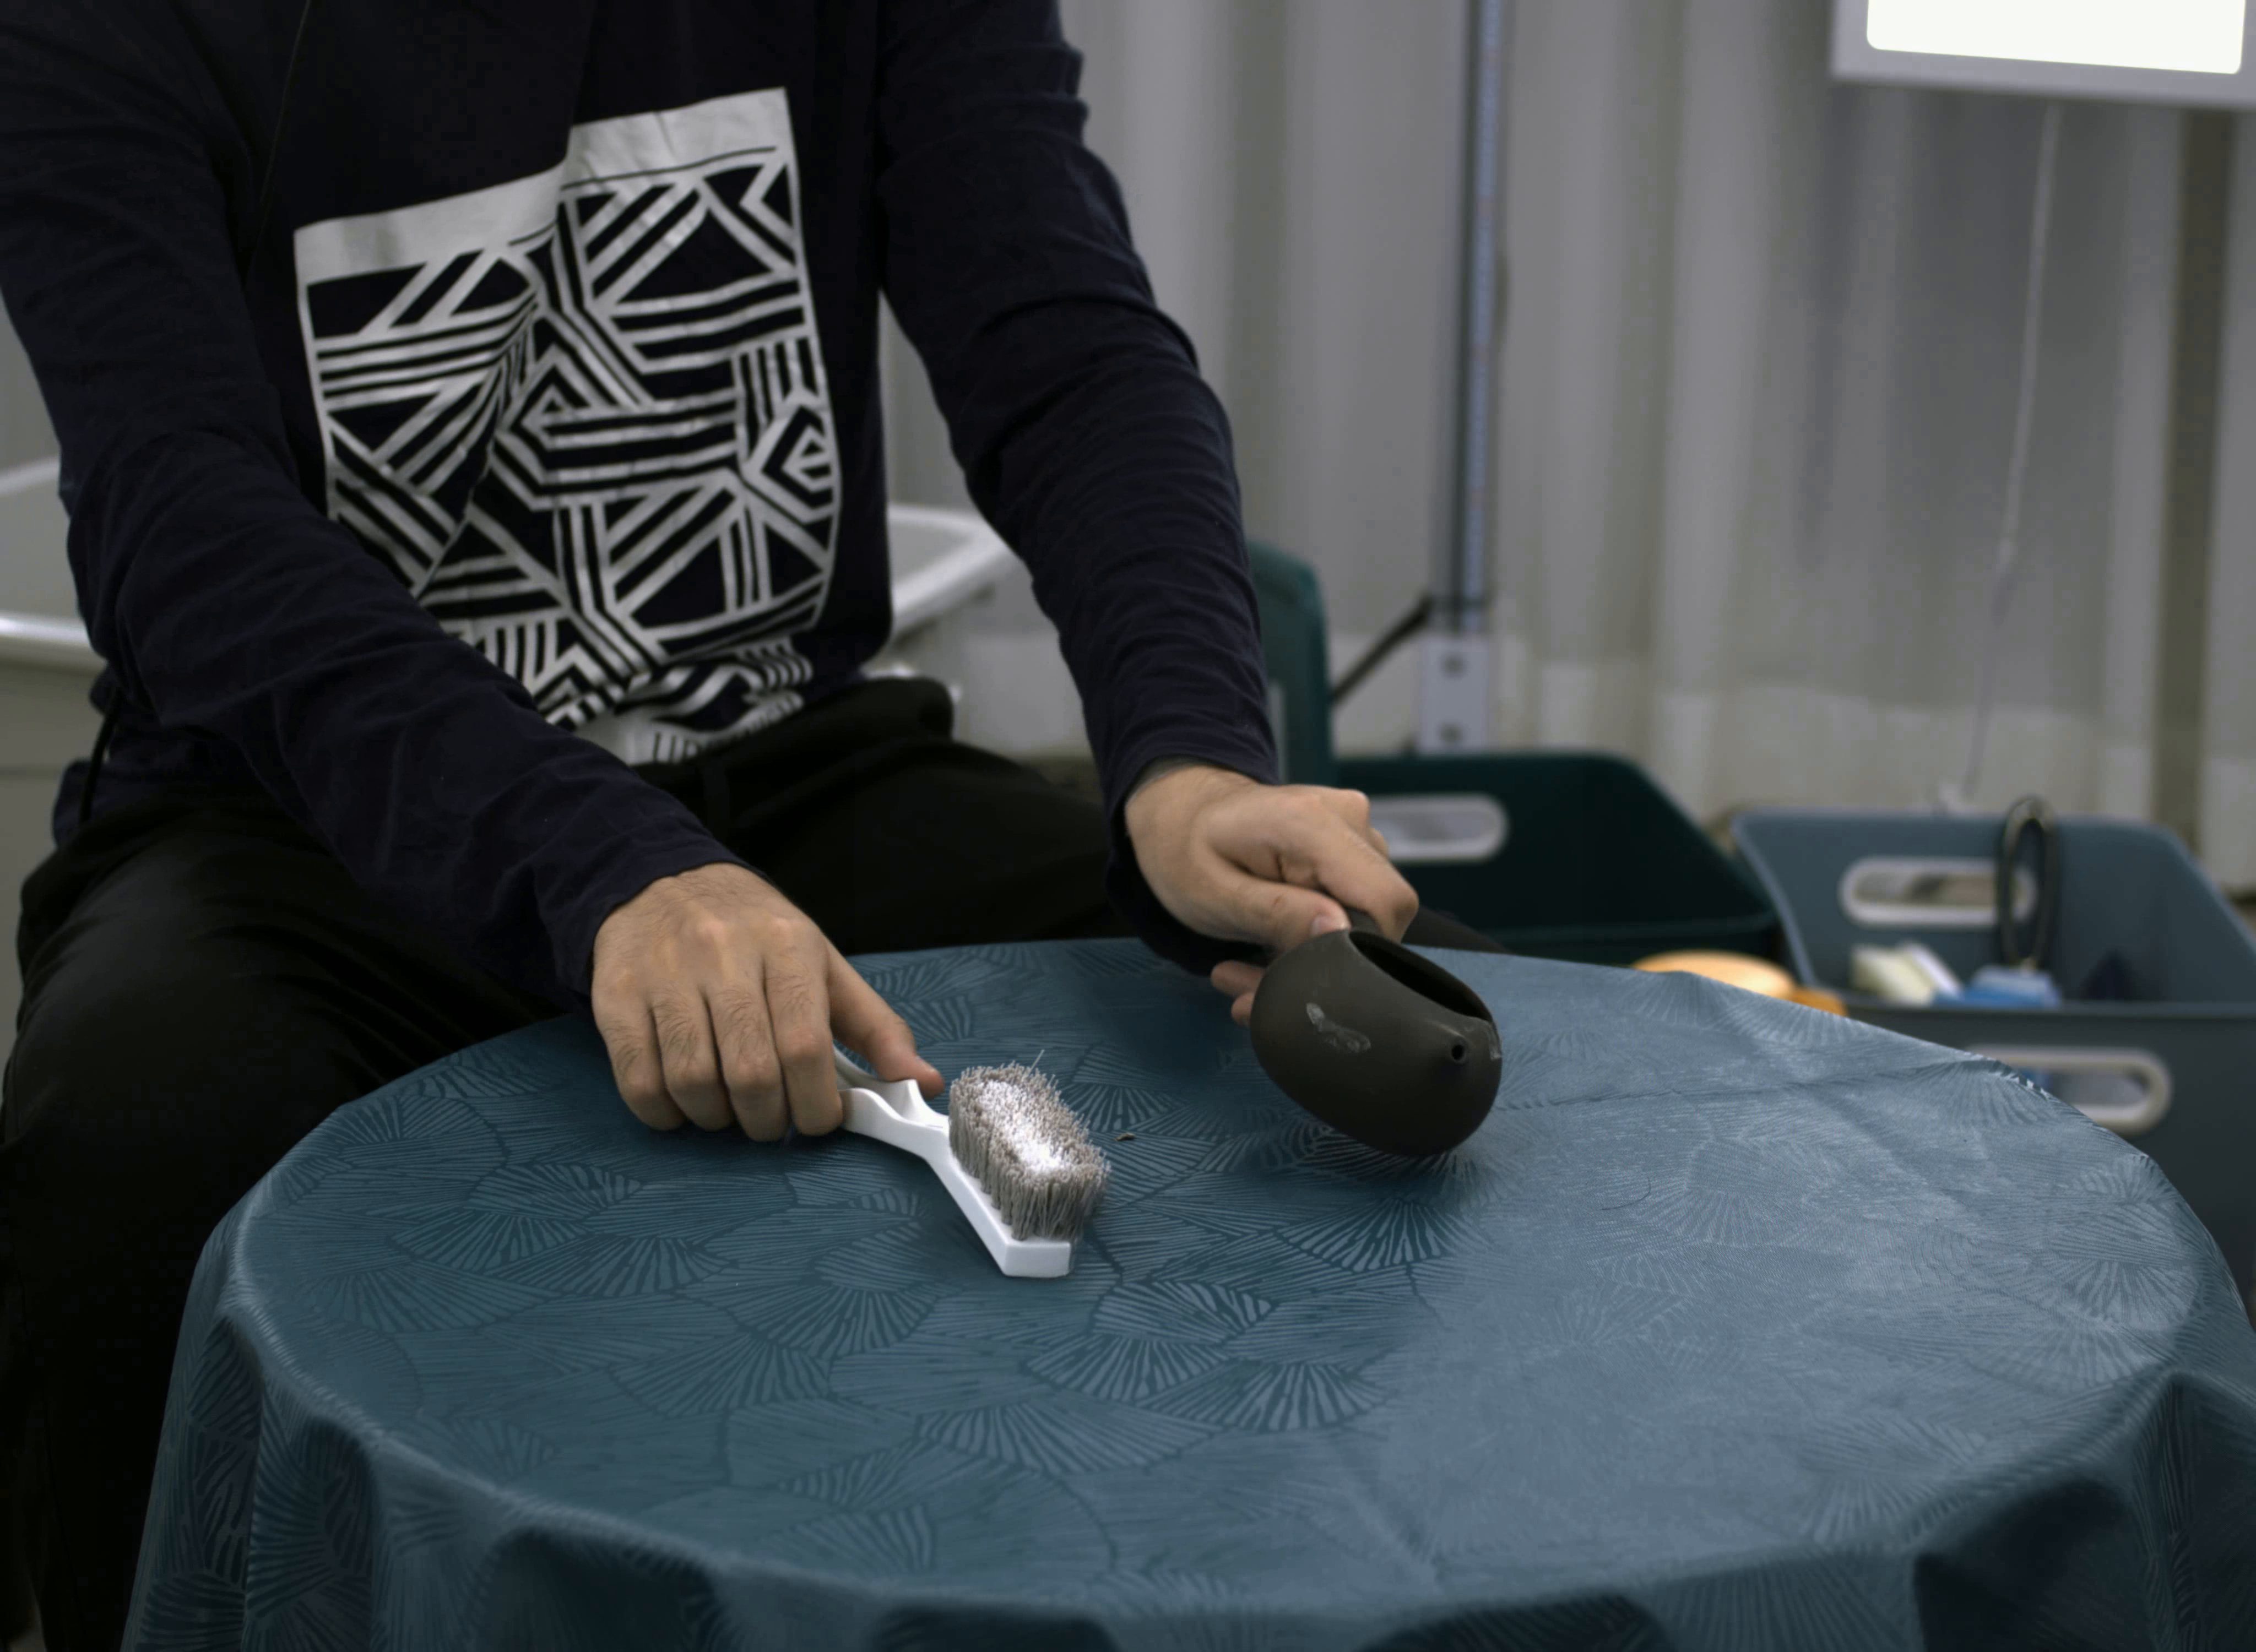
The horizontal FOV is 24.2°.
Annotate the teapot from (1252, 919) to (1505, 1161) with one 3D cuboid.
[{"bbox_3d":[0.076,0.064,1.660,0.083,0.053,0.113,22,15,-27],"label":"teapot"}]

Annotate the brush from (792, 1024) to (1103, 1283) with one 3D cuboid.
[{"bbox_3d":[-0.062,0.082,1.642,0.034,0.051,0.241,-11,19,-18],"label":"brush"}]
